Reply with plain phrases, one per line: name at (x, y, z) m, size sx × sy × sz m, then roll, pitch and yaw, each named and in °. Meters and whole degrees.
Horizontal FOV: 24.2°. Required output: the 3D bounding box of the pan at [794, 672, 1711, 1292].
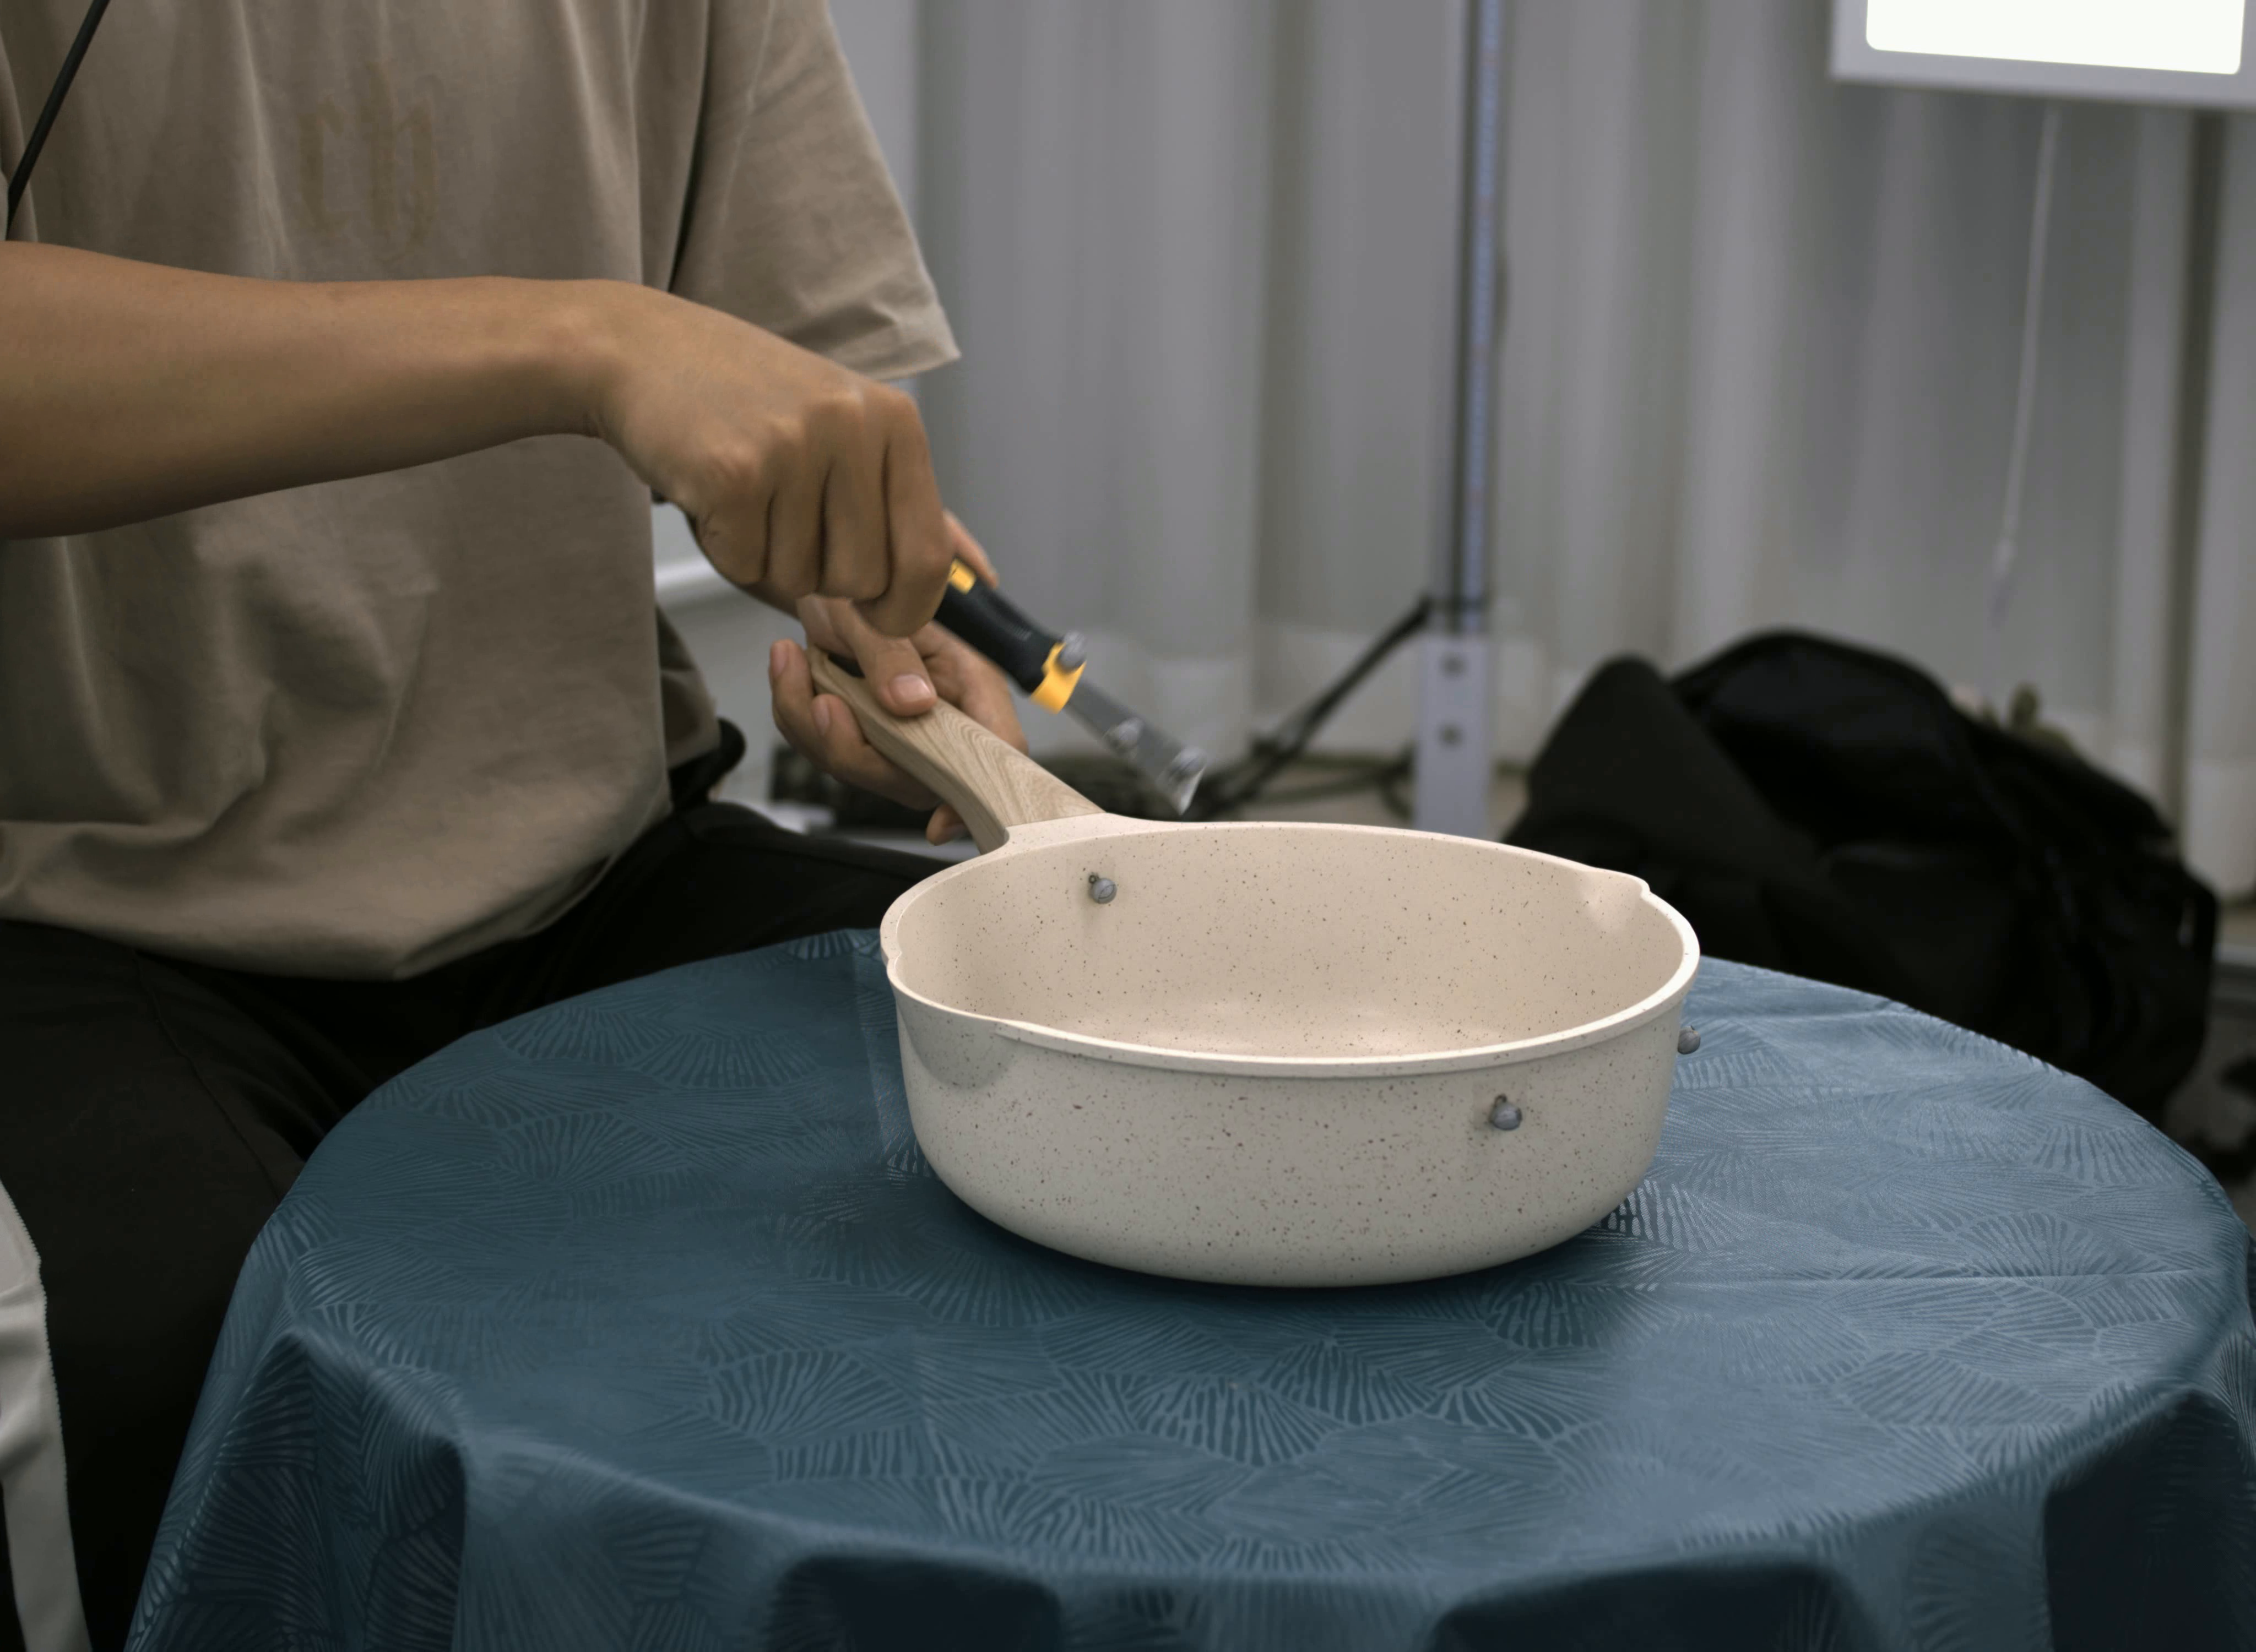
pan at (0.007, 0.044, 1.698) m, size 0.264 × 0.103 × 0.429 m, roll -12°, pitch 20°, yaw -29°

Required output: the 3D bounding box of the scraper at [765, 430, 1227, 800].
scraper at (-0.041, -0.066, 1.619) m, size 0.171 × 0.015 × 0.038 m, roll 37°, pitch 35°, yaw -11°
